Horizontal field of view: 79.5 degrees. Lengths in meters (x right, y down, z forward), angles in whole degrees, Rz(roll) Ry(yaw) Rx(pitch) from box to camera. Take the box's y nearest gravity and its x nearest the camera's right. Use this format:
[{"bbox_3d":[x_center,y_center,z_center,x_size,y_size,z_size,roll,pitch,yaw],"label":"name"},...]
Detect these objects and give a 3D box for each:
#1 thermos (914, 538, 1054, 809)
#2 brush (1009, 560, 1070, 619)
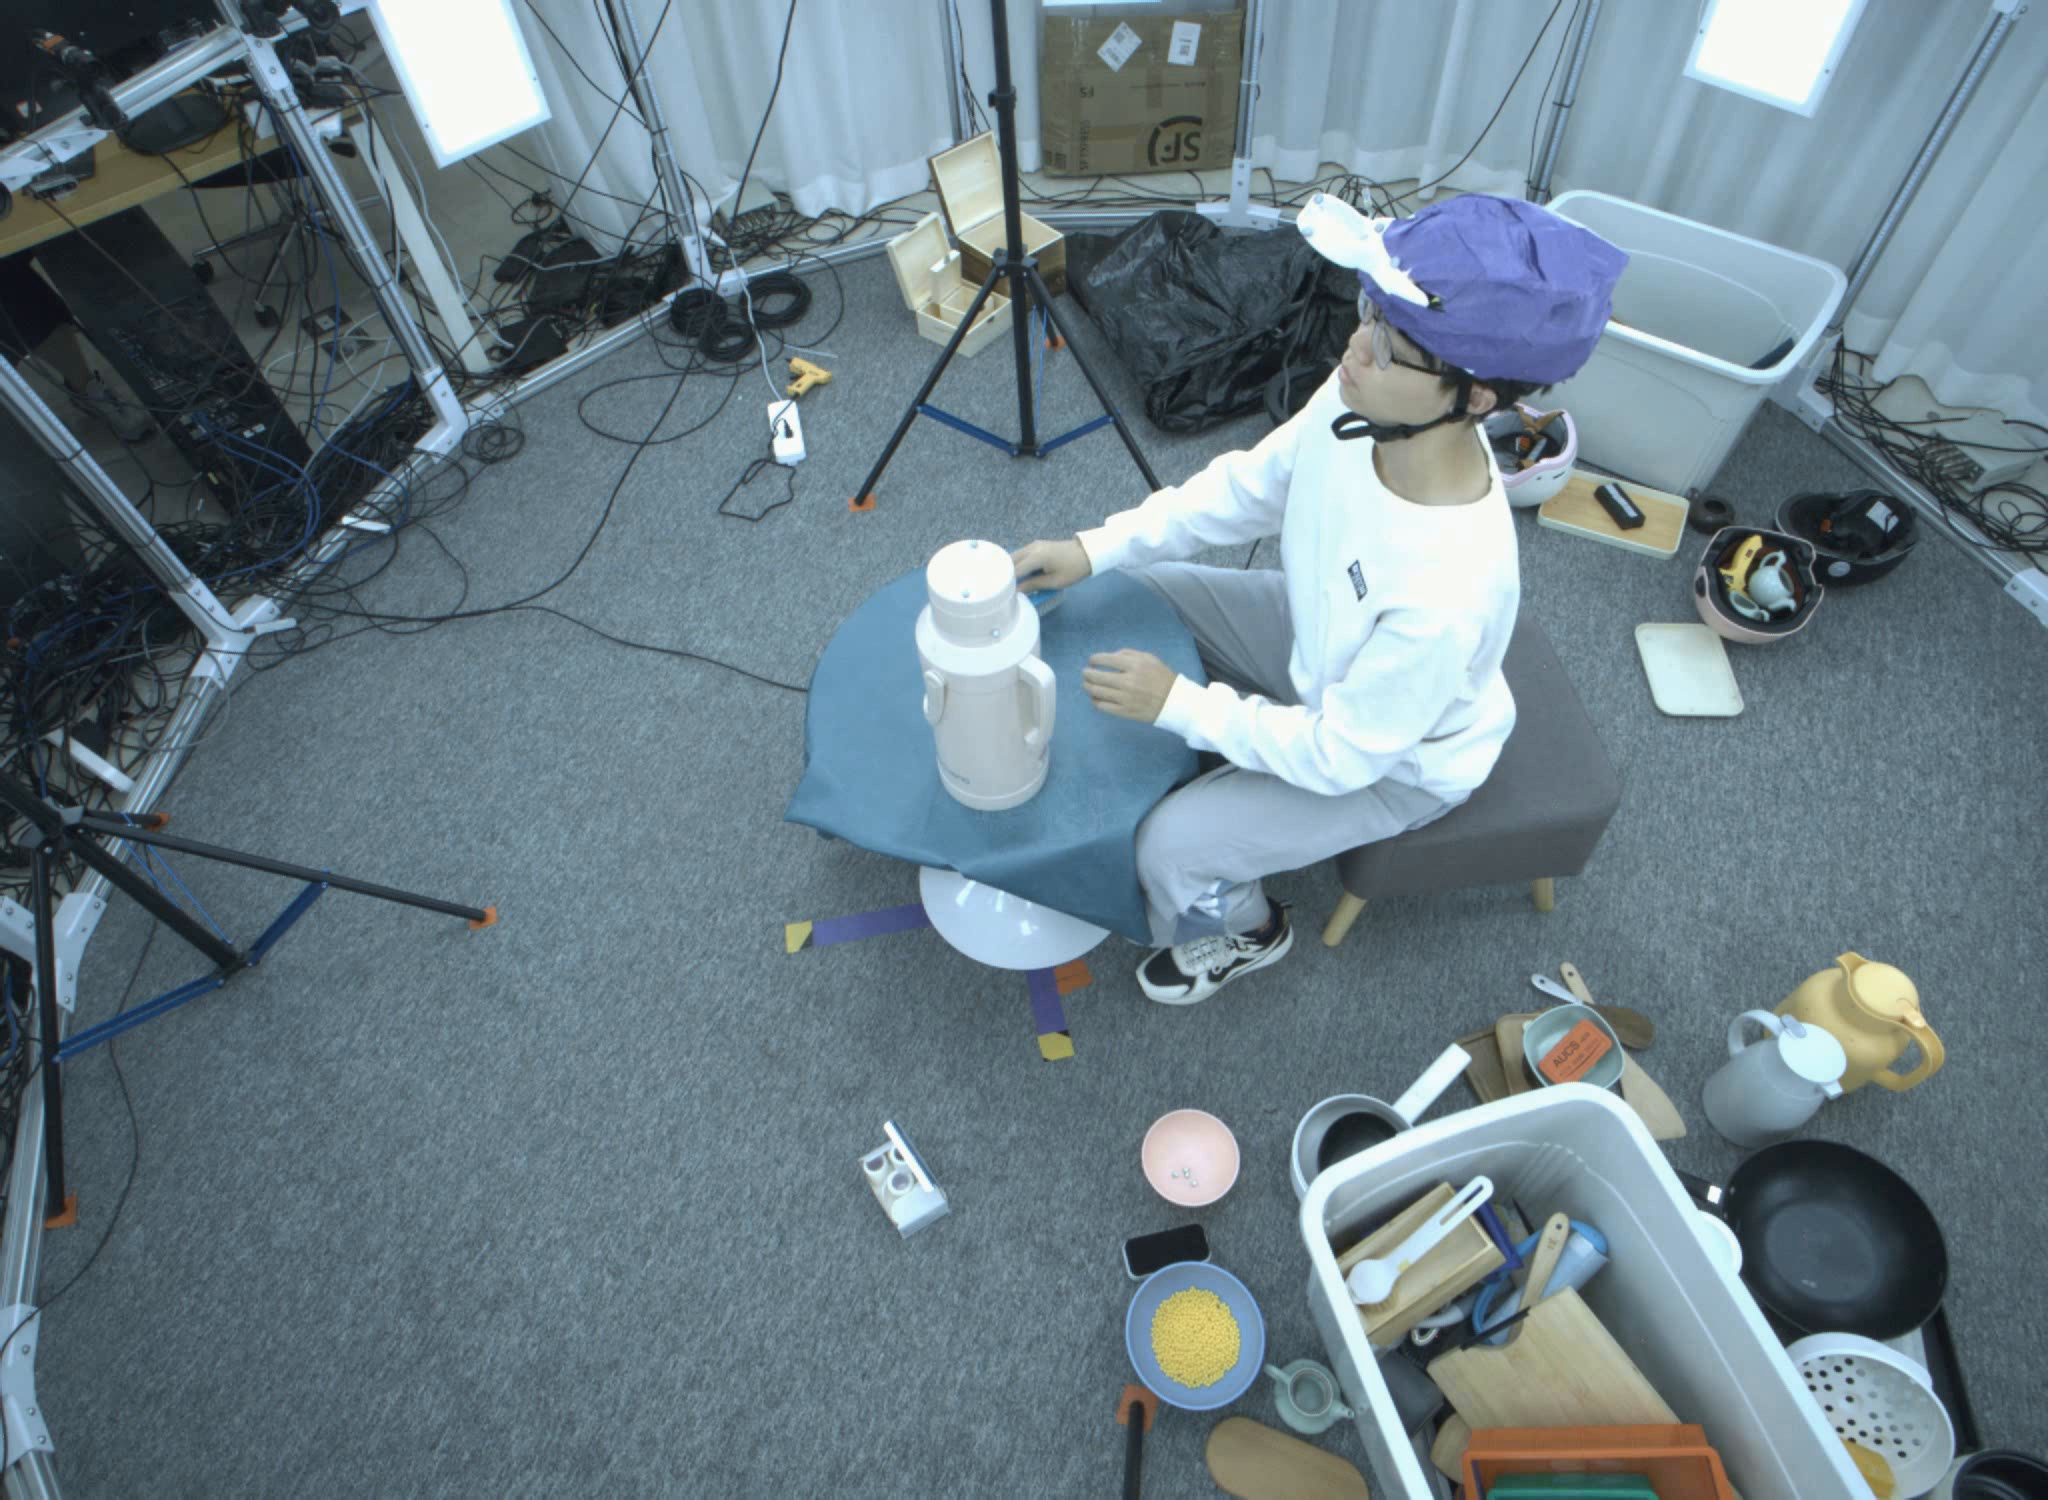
[{"bbox_3d":[-0.045,-0.088,1.603,0.203,0.410,0.176,32,61,23],"label":"thermos"},{"bbox_3d":[0.003,-0.253,1.891,0.143,0.064,0.082,-34,56,-22],"label":"brush"}]
